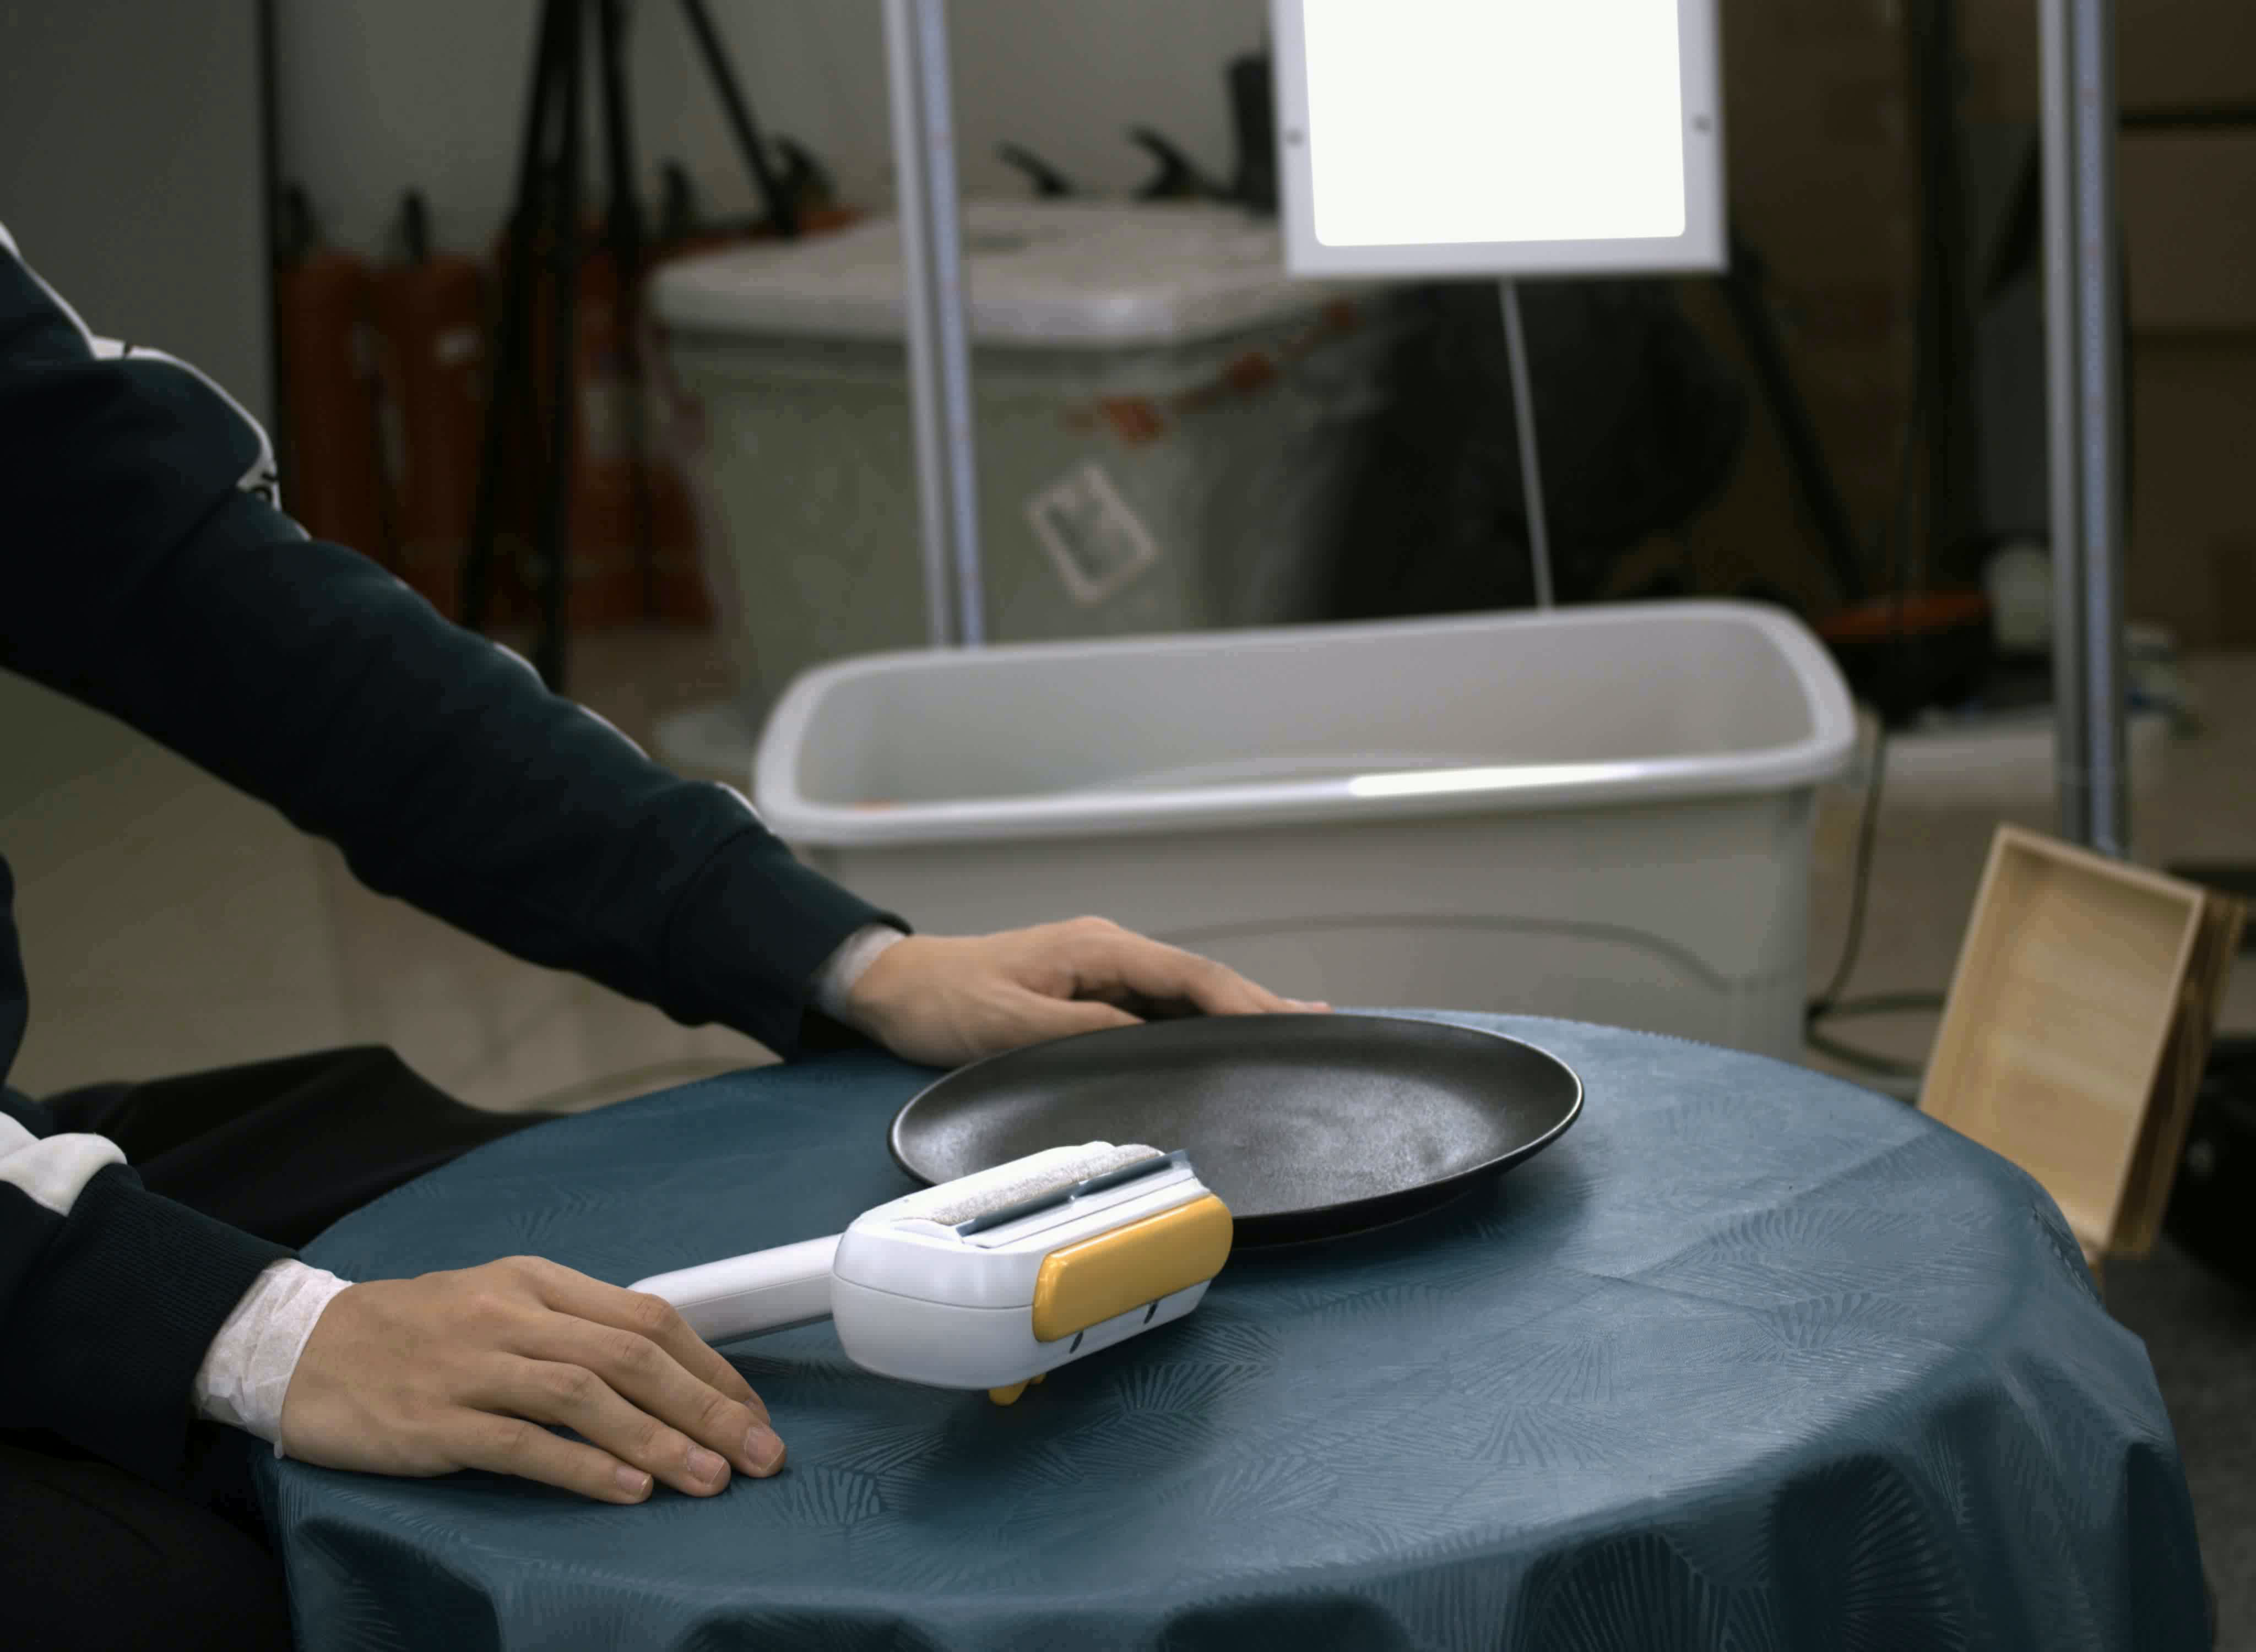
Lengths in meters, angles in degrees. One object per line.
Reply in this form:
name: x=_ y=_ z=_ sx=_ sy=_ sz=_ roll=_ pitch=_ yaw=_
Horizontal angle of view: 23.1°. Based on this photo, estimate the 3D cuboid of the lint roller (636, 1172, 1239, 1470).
lint roller: x=-0.078 y=0.159 z=1.726 sx=0.196 sy=0.074 sz=0.188 roll=-14 pitch=0 yaw=32

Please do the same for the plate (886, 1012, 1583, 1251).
plate: x=0.037 y=0.108 z=1.907 sx=0.244 sy=0.023 sz=0.244 roll=-5 pitch=14 yaw=0
